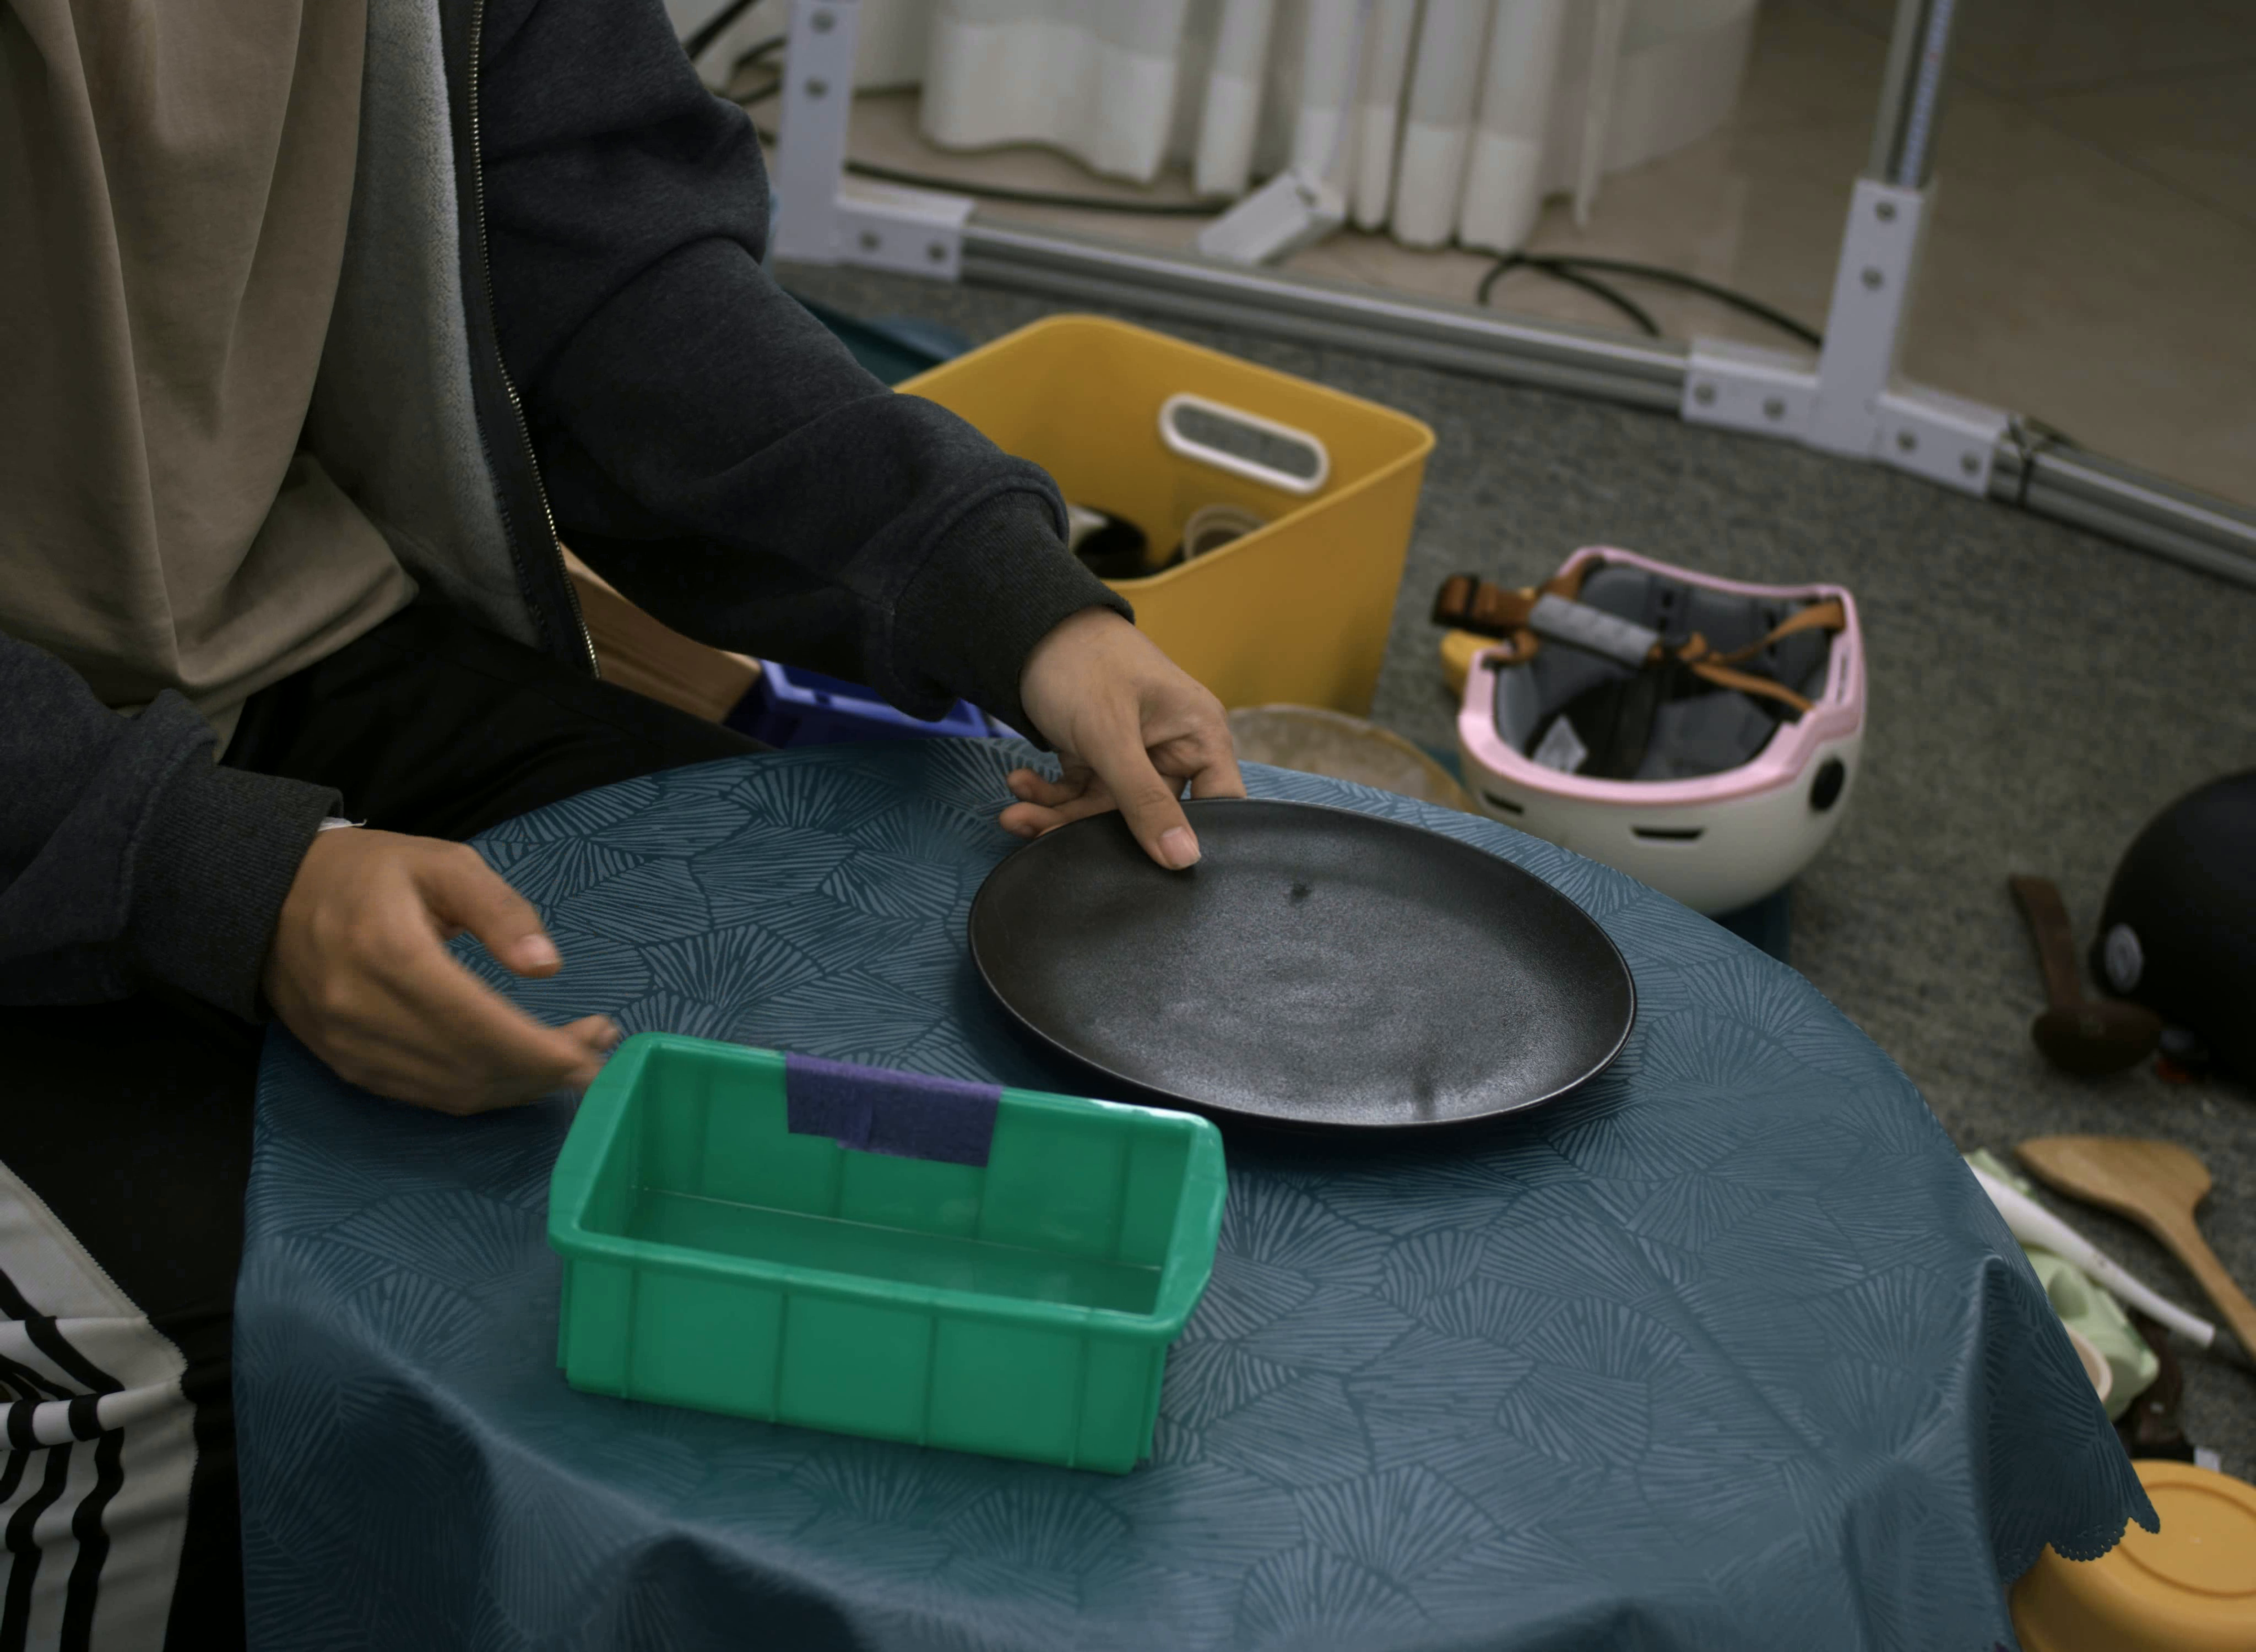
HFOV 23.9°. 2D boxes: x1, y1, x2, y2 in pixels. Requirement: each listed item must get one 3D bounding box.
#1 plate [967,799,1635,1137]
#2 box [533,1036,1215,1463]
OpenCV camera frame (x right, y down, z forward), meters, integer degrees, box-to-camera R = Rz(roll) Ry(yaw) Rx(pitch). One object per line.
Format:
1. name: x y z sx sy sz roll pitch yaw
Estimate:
1. plate: 0.061 0.055 1.924 0.243 0.023 0.246 5 27 -3
2. box: -0.081 0.136 1.690 0.210 0.065 0.139 6 25 4
